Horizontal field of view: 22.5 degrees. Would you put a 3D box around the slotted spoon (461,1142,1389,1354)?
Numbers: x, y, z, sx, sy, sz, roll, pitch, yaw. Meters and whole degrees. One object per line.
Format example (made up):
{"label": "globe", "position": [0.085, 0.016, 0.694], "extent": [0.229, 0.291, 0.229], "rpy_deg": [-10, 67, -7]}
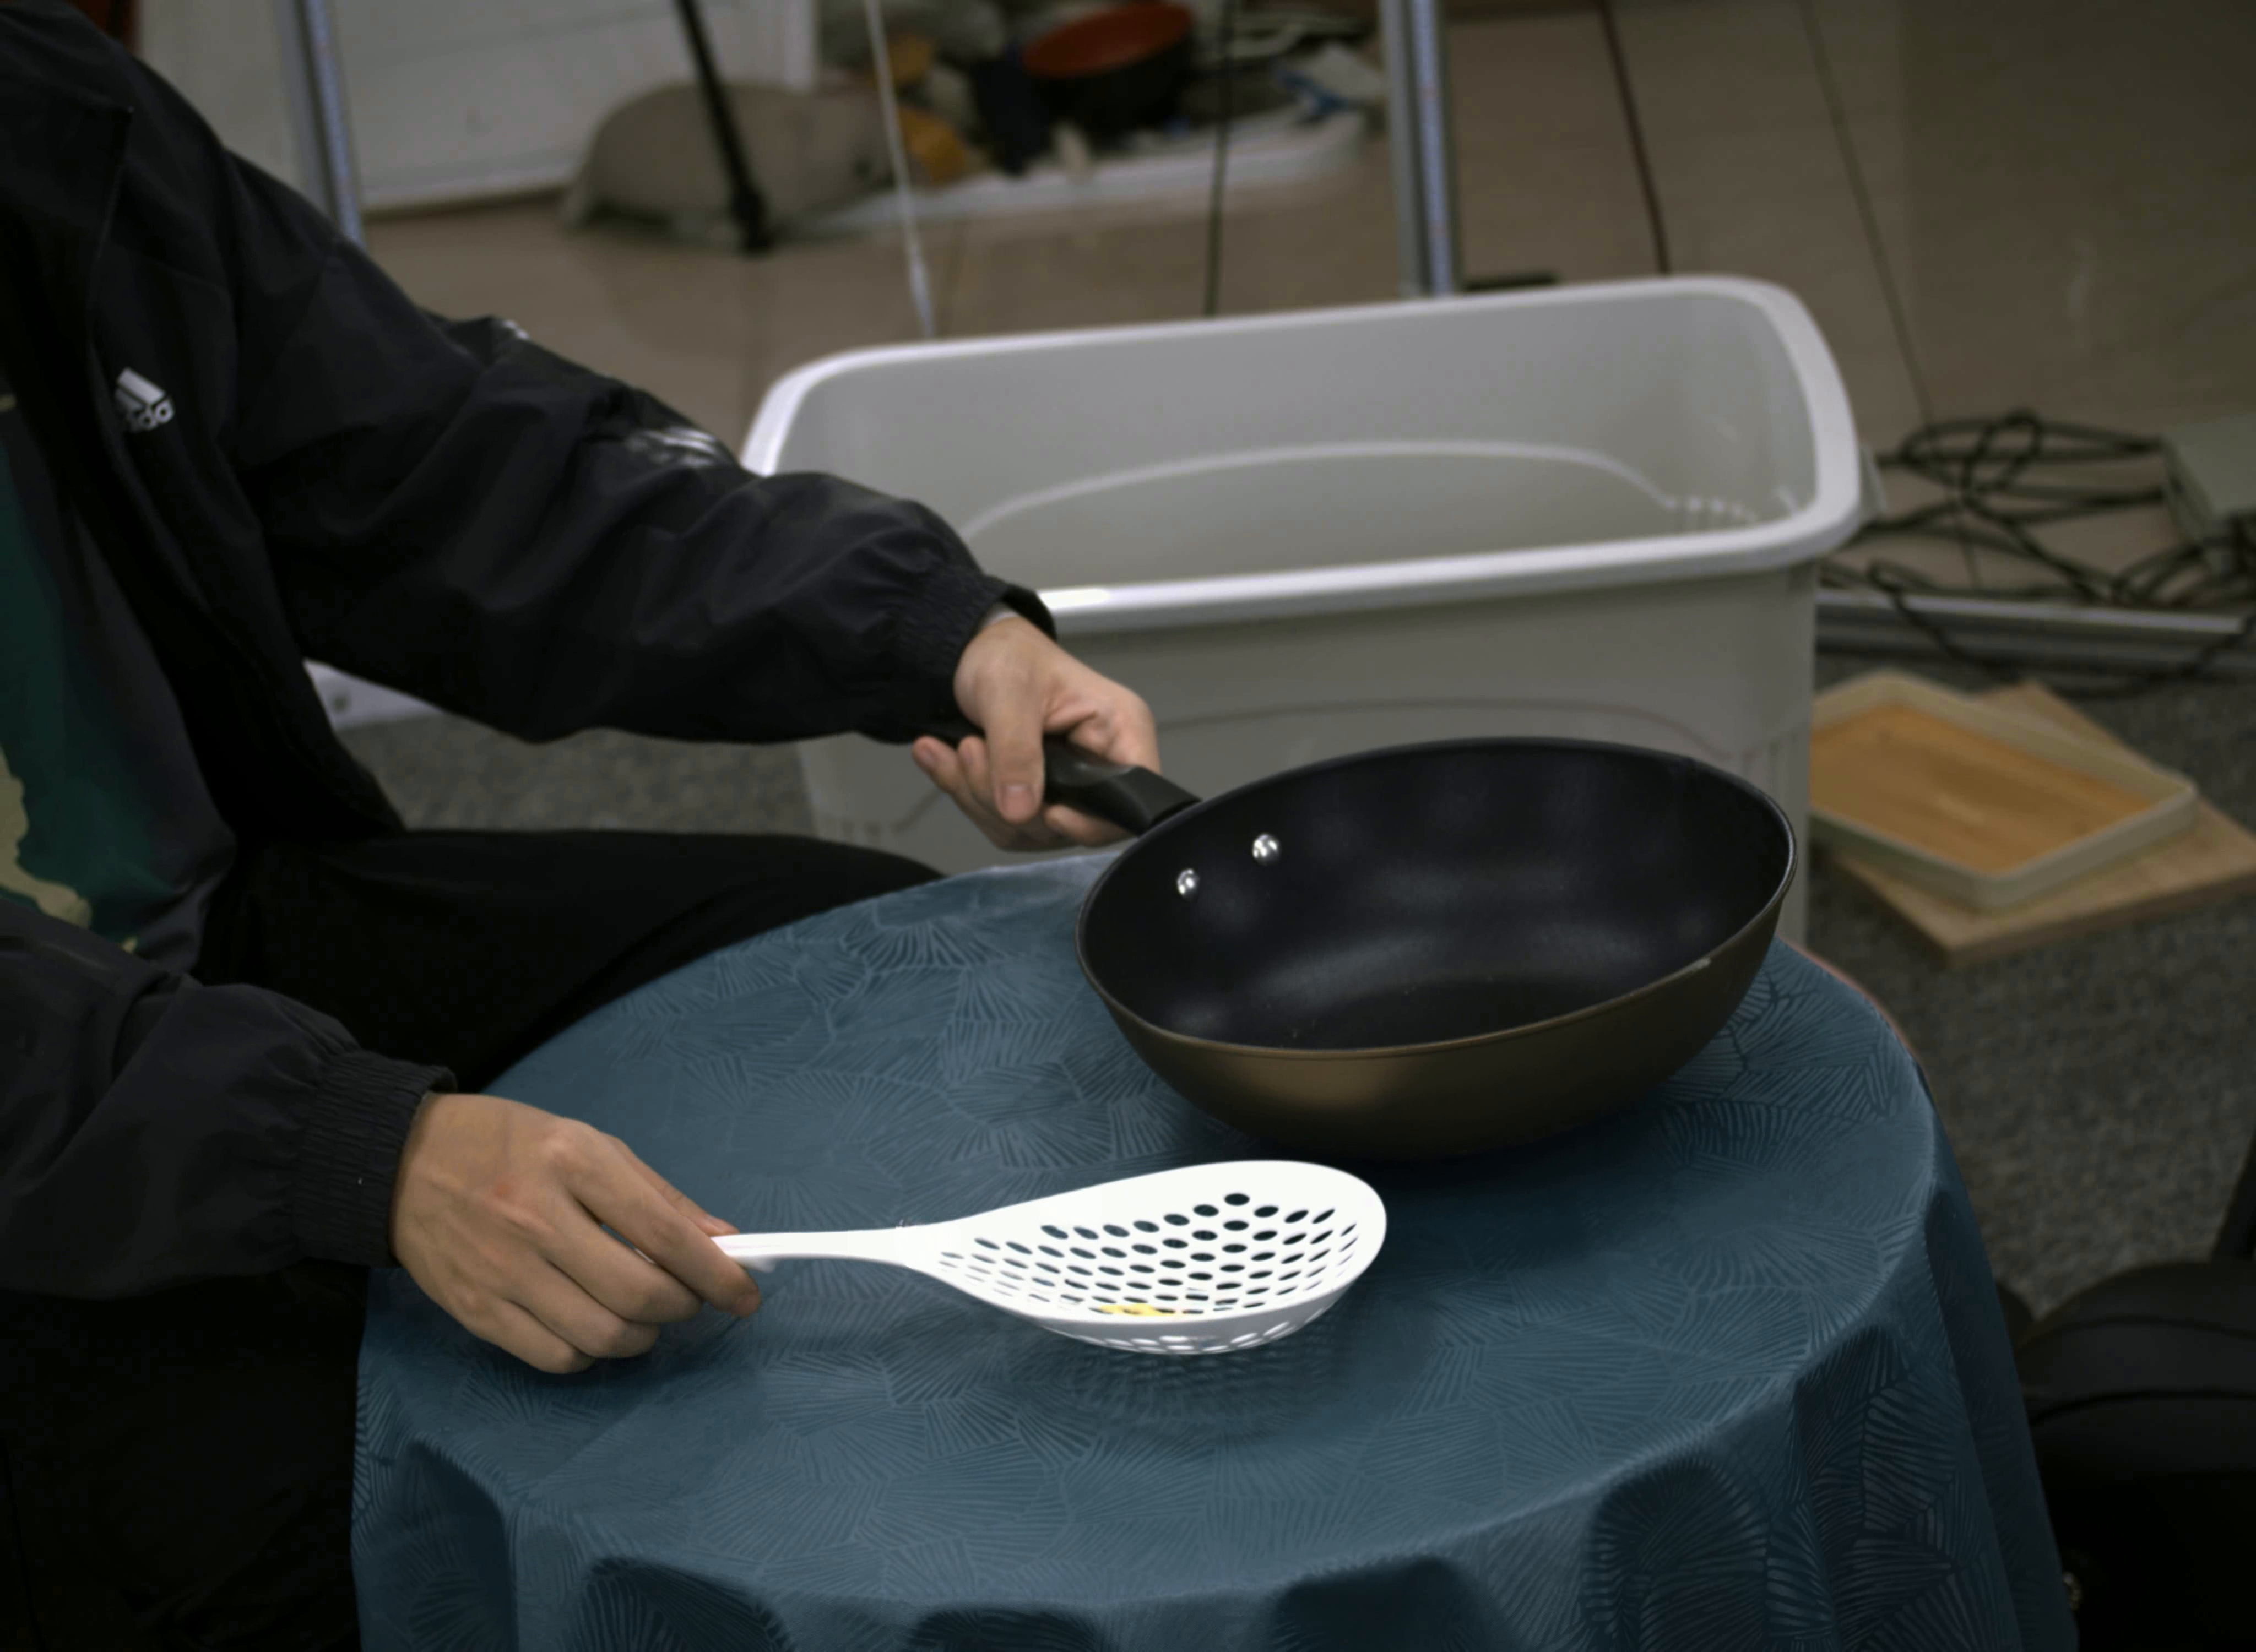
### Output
{"label": "slotted spoon", "position": [-0.077, 0.162, 2.060], "extent": [0.347, 0.051, 0.135], "rpy_deg": [0, 23, 12]}

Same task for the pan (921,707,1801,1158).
{"label": "pan", "position": [0.064, 0.037, 2.253], "extent": [0.286, 0.088, 0.460], "rpy_deg": [-25, 28, -33]}
